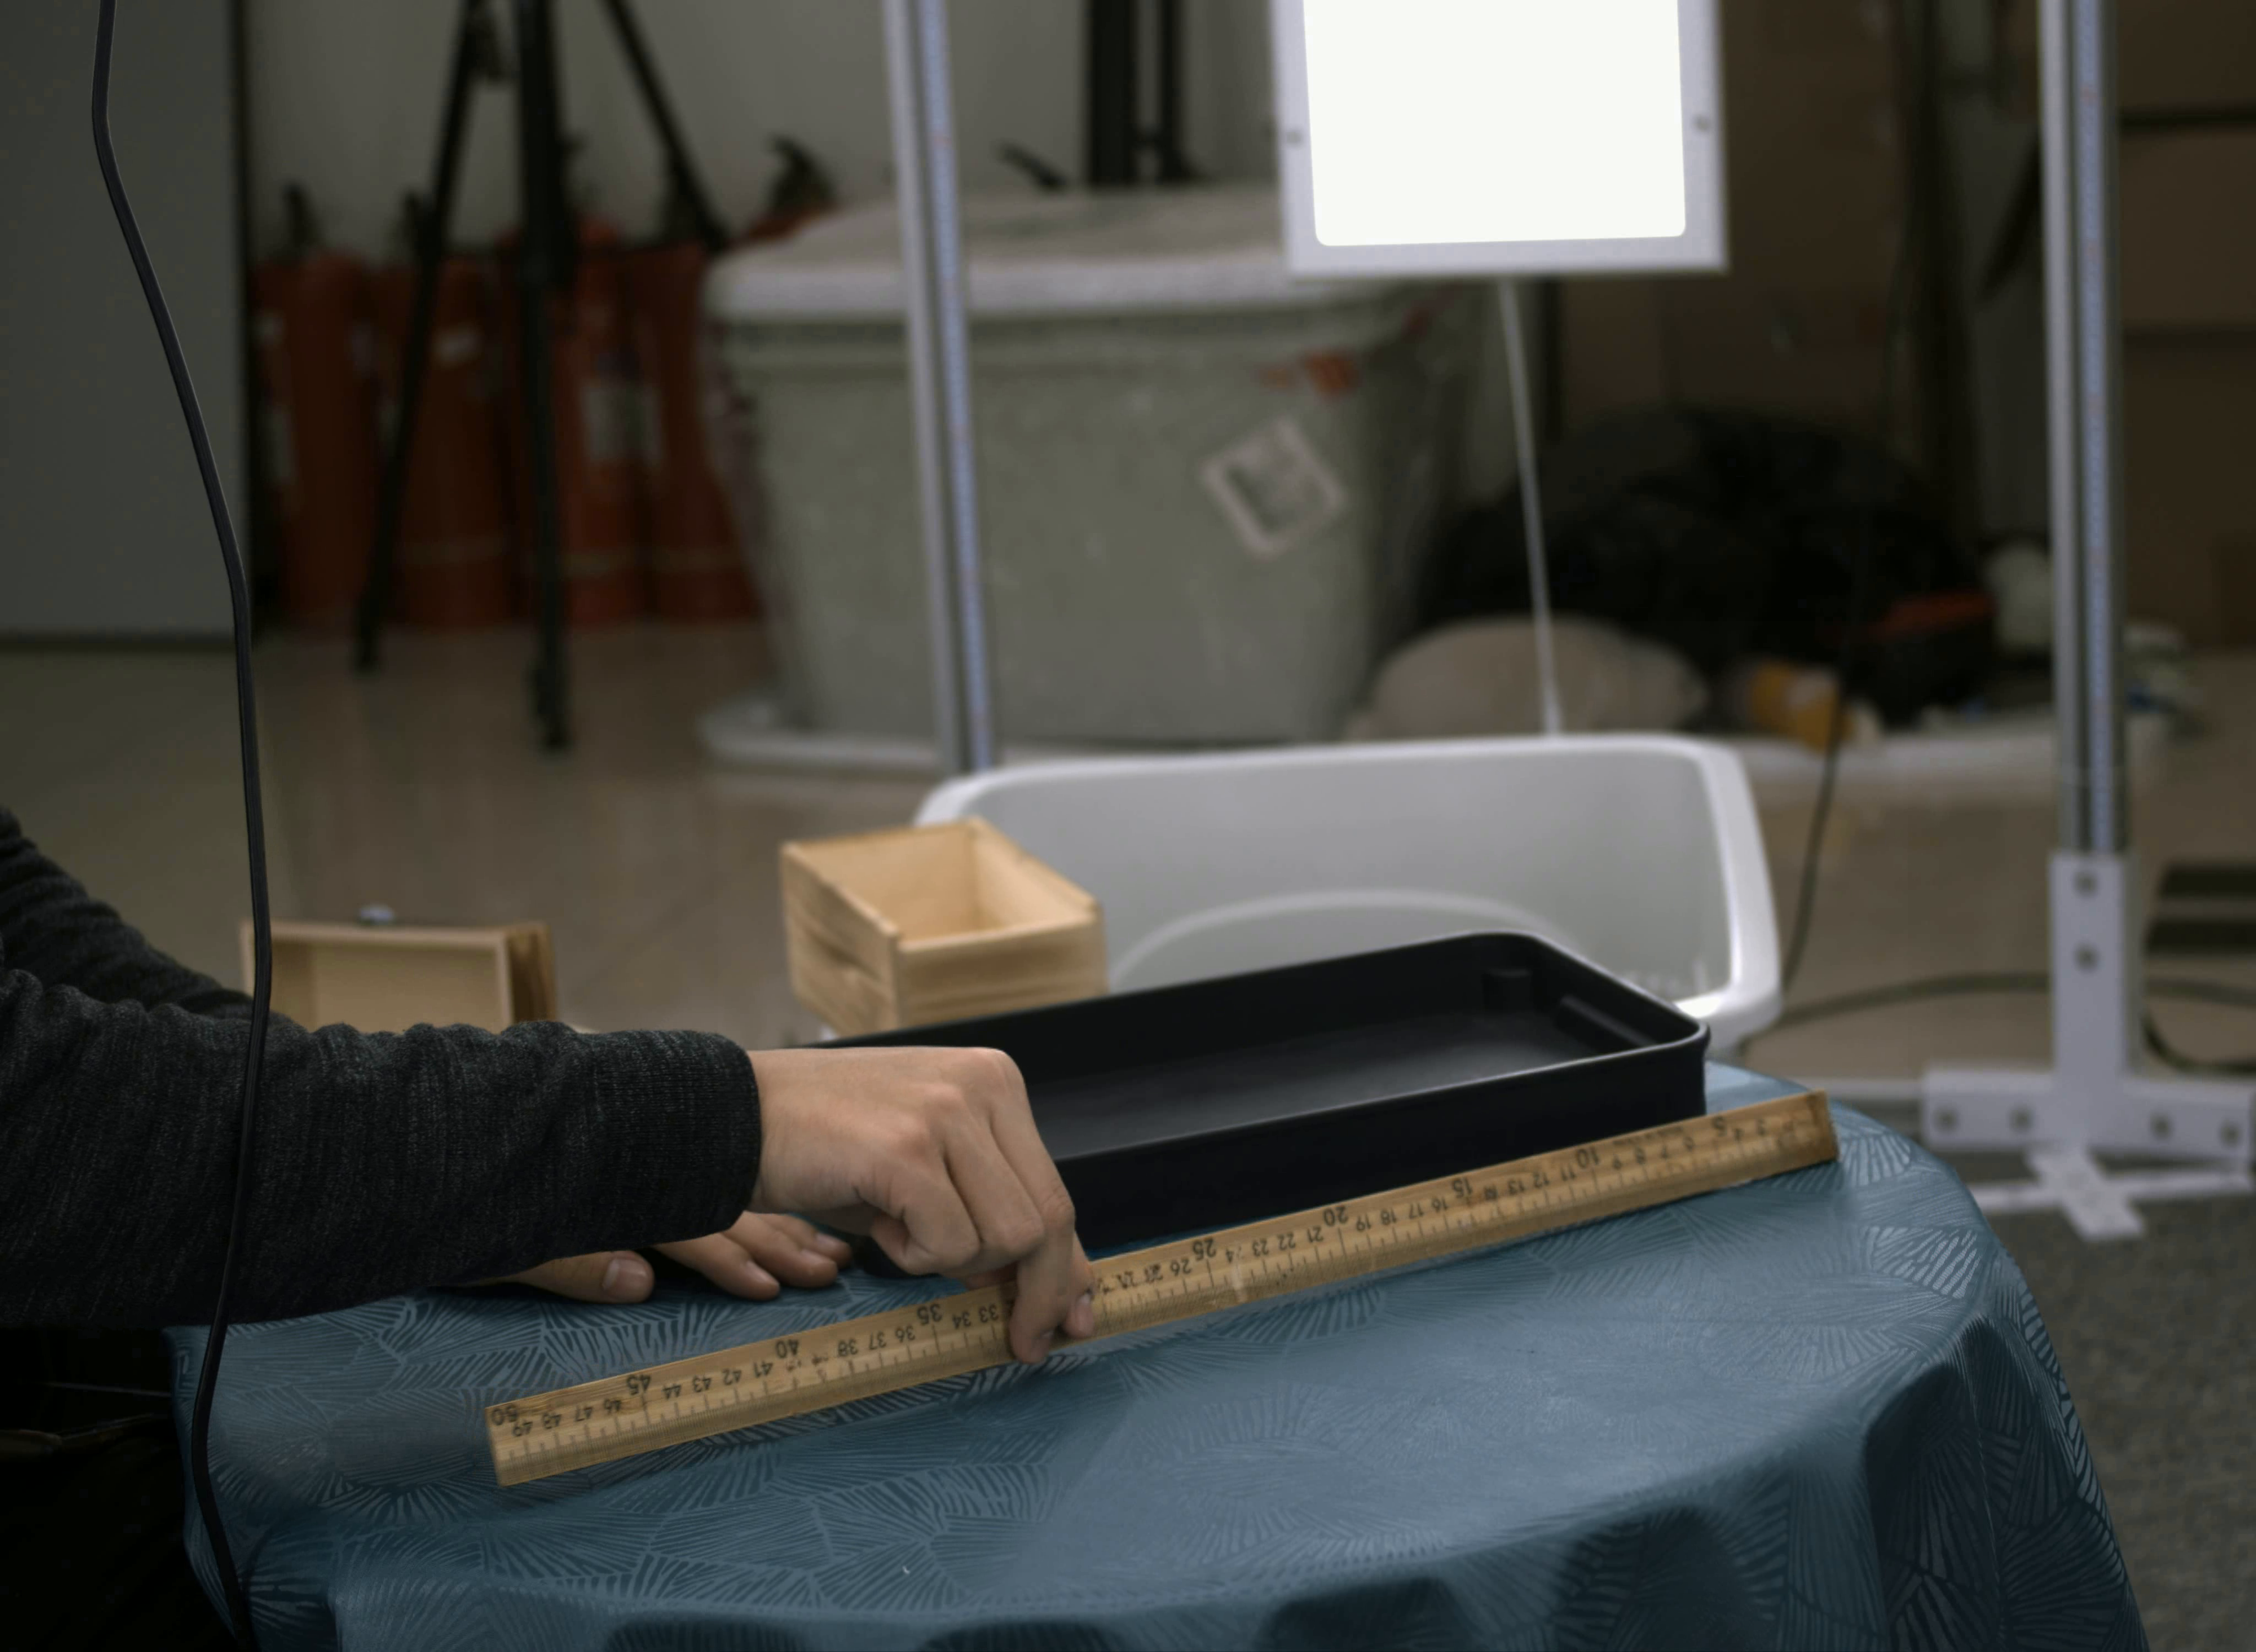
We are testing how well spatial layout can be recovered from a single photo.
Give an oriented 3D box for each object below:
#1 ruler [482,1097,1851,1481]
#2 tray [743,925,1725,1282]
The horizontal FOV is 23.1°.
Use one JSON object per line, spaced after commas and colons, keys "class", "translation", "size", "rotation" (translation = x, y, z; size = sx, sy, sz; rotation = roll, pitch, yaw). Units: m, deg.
{"class": "ruler", "translation": [0.026, 0.143, 1.757], "size": [0.490, 0.027, 0.006], "rotation": [-11, -4, -25]}
{"class": "tray", "translation": [0.037, 0.094, 1.943], "size": [0.313, 0.037, 0.186], "rotation": [-10, 14, -18]}
